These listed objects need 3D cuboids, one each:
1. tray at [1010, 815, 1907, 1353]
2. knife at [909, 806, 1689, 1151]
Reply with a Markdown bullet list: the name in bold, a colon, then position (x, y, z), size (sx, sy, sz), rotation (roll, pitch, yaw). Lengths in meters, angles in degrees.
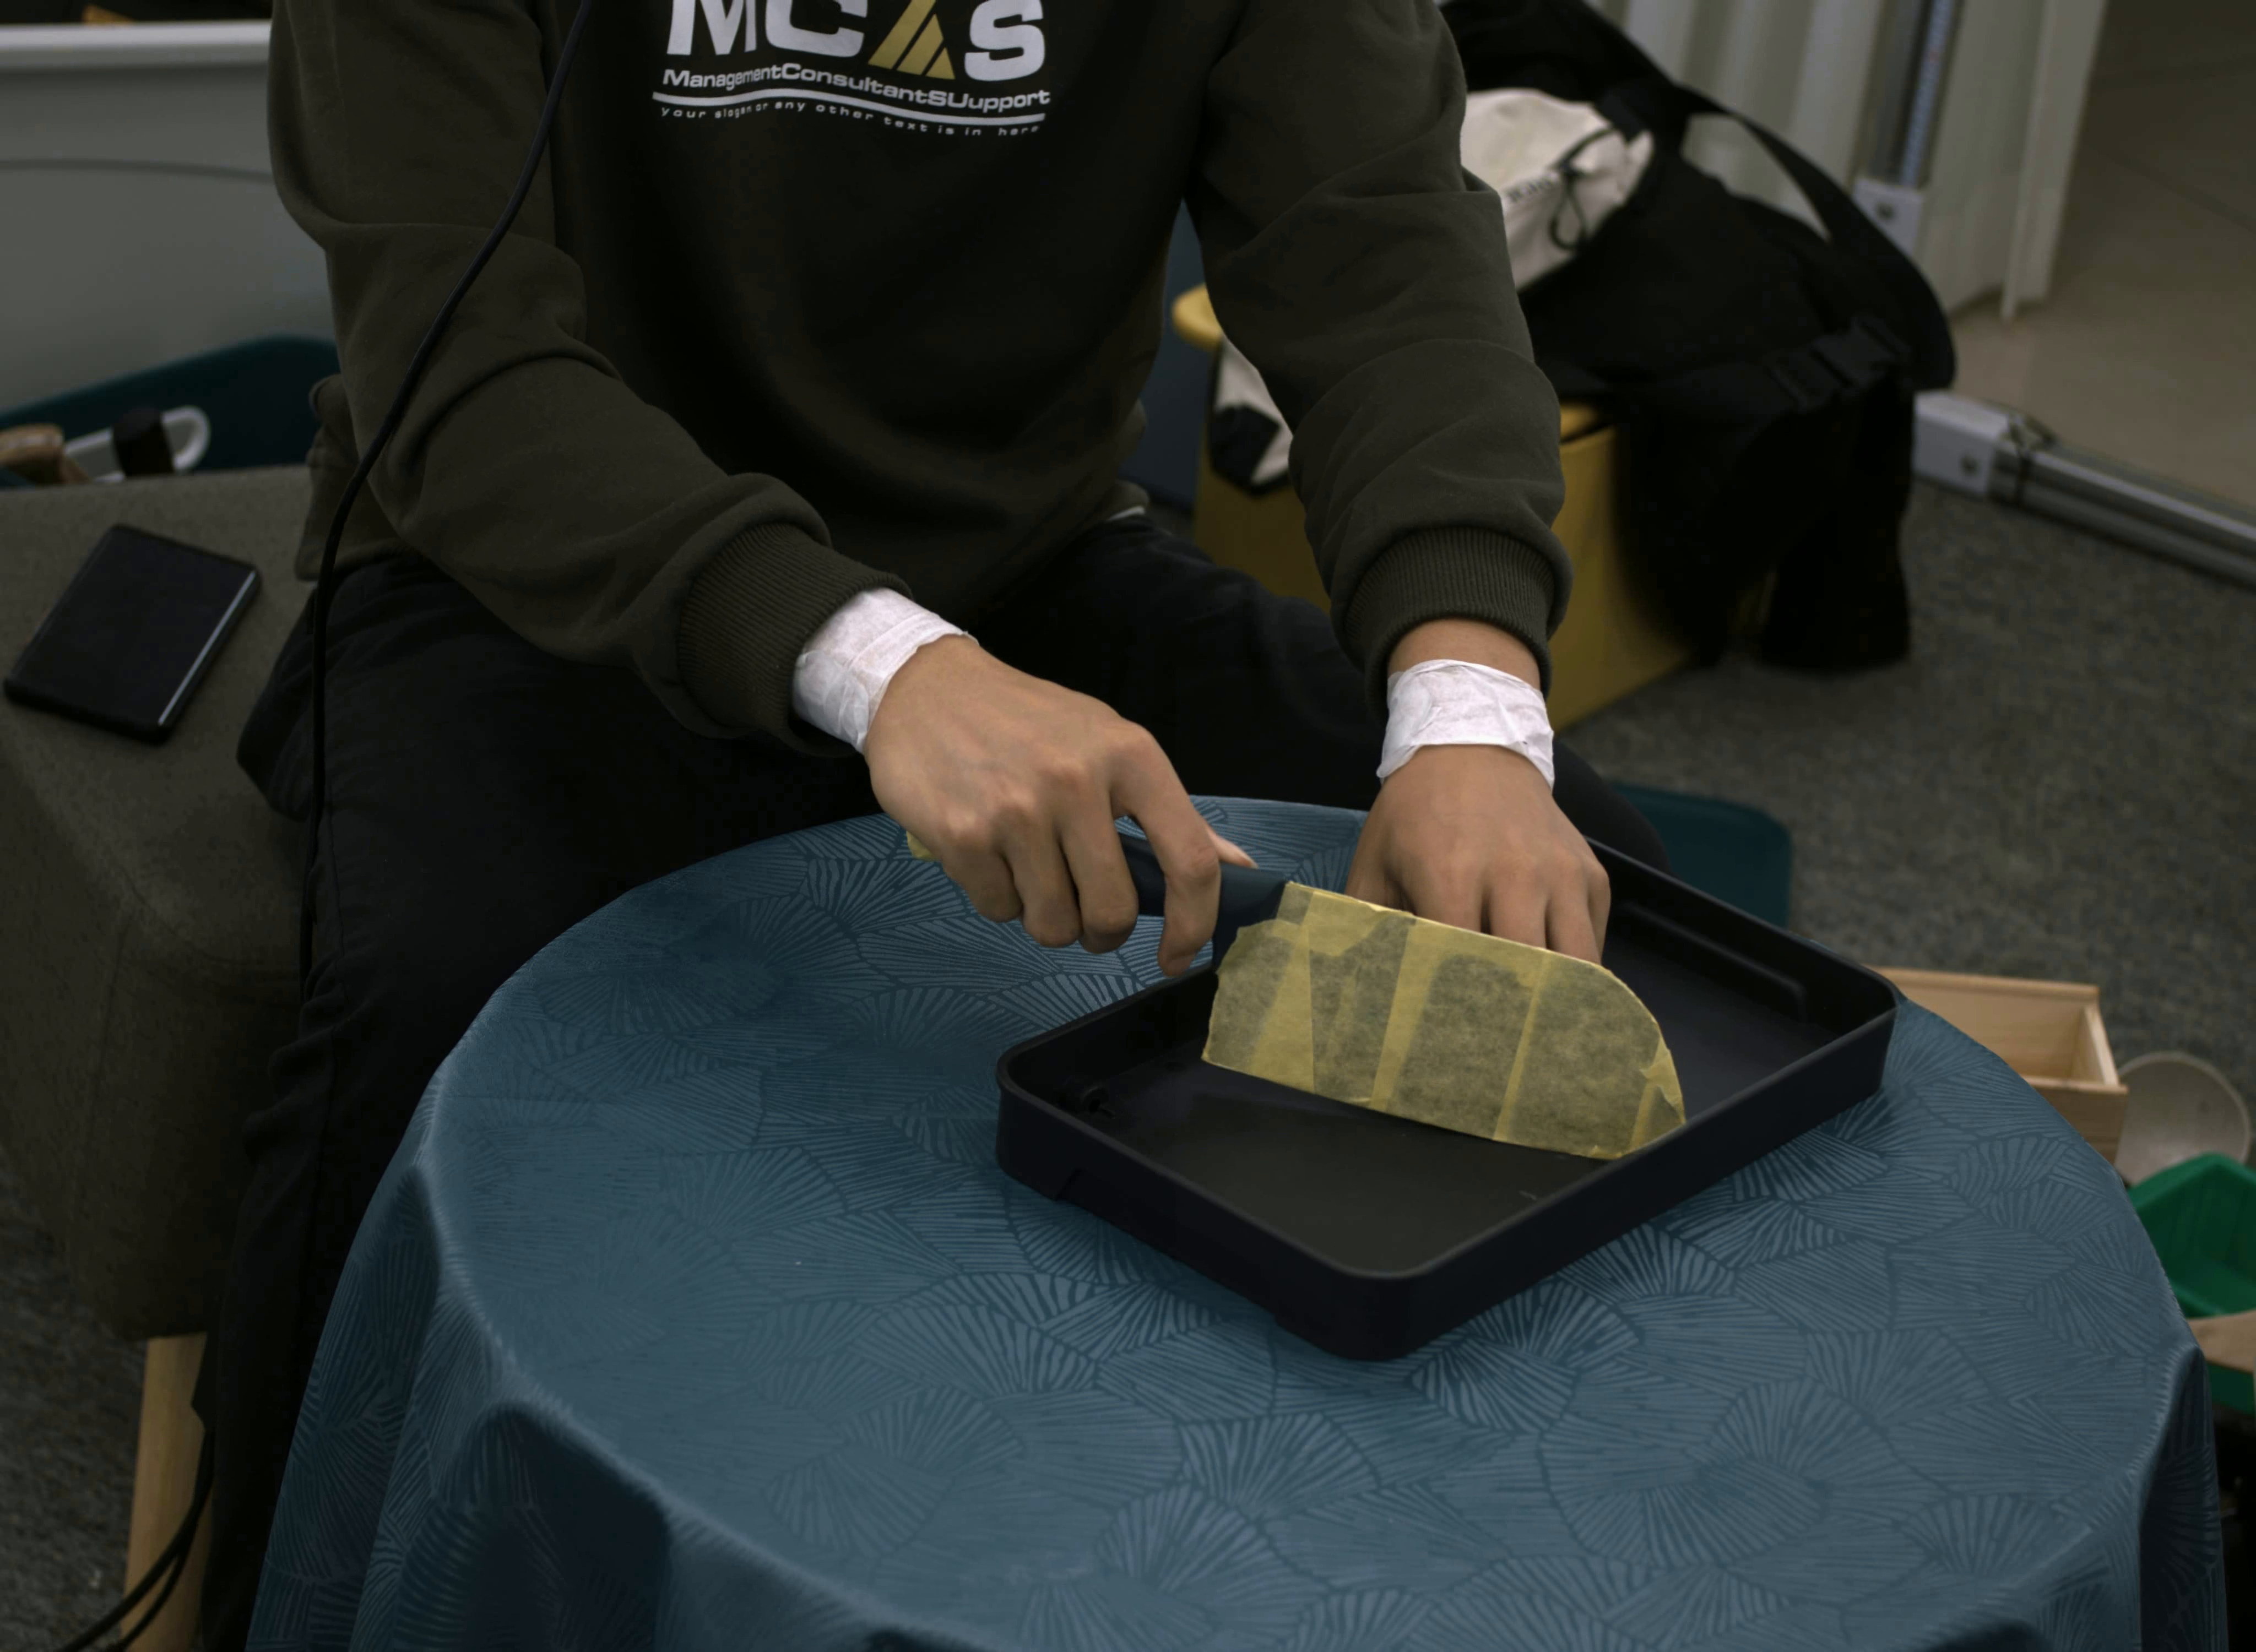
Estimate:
- **tray**: position (0.119, 0.084, 1.869), size (0.185, 0.037, 0.316), rotation (25, 32, 33)
- **knife**: position (0.057, 0.053, 1.852), size (0.289, 0.081, 0.027), rotation (18, 14, 7)
